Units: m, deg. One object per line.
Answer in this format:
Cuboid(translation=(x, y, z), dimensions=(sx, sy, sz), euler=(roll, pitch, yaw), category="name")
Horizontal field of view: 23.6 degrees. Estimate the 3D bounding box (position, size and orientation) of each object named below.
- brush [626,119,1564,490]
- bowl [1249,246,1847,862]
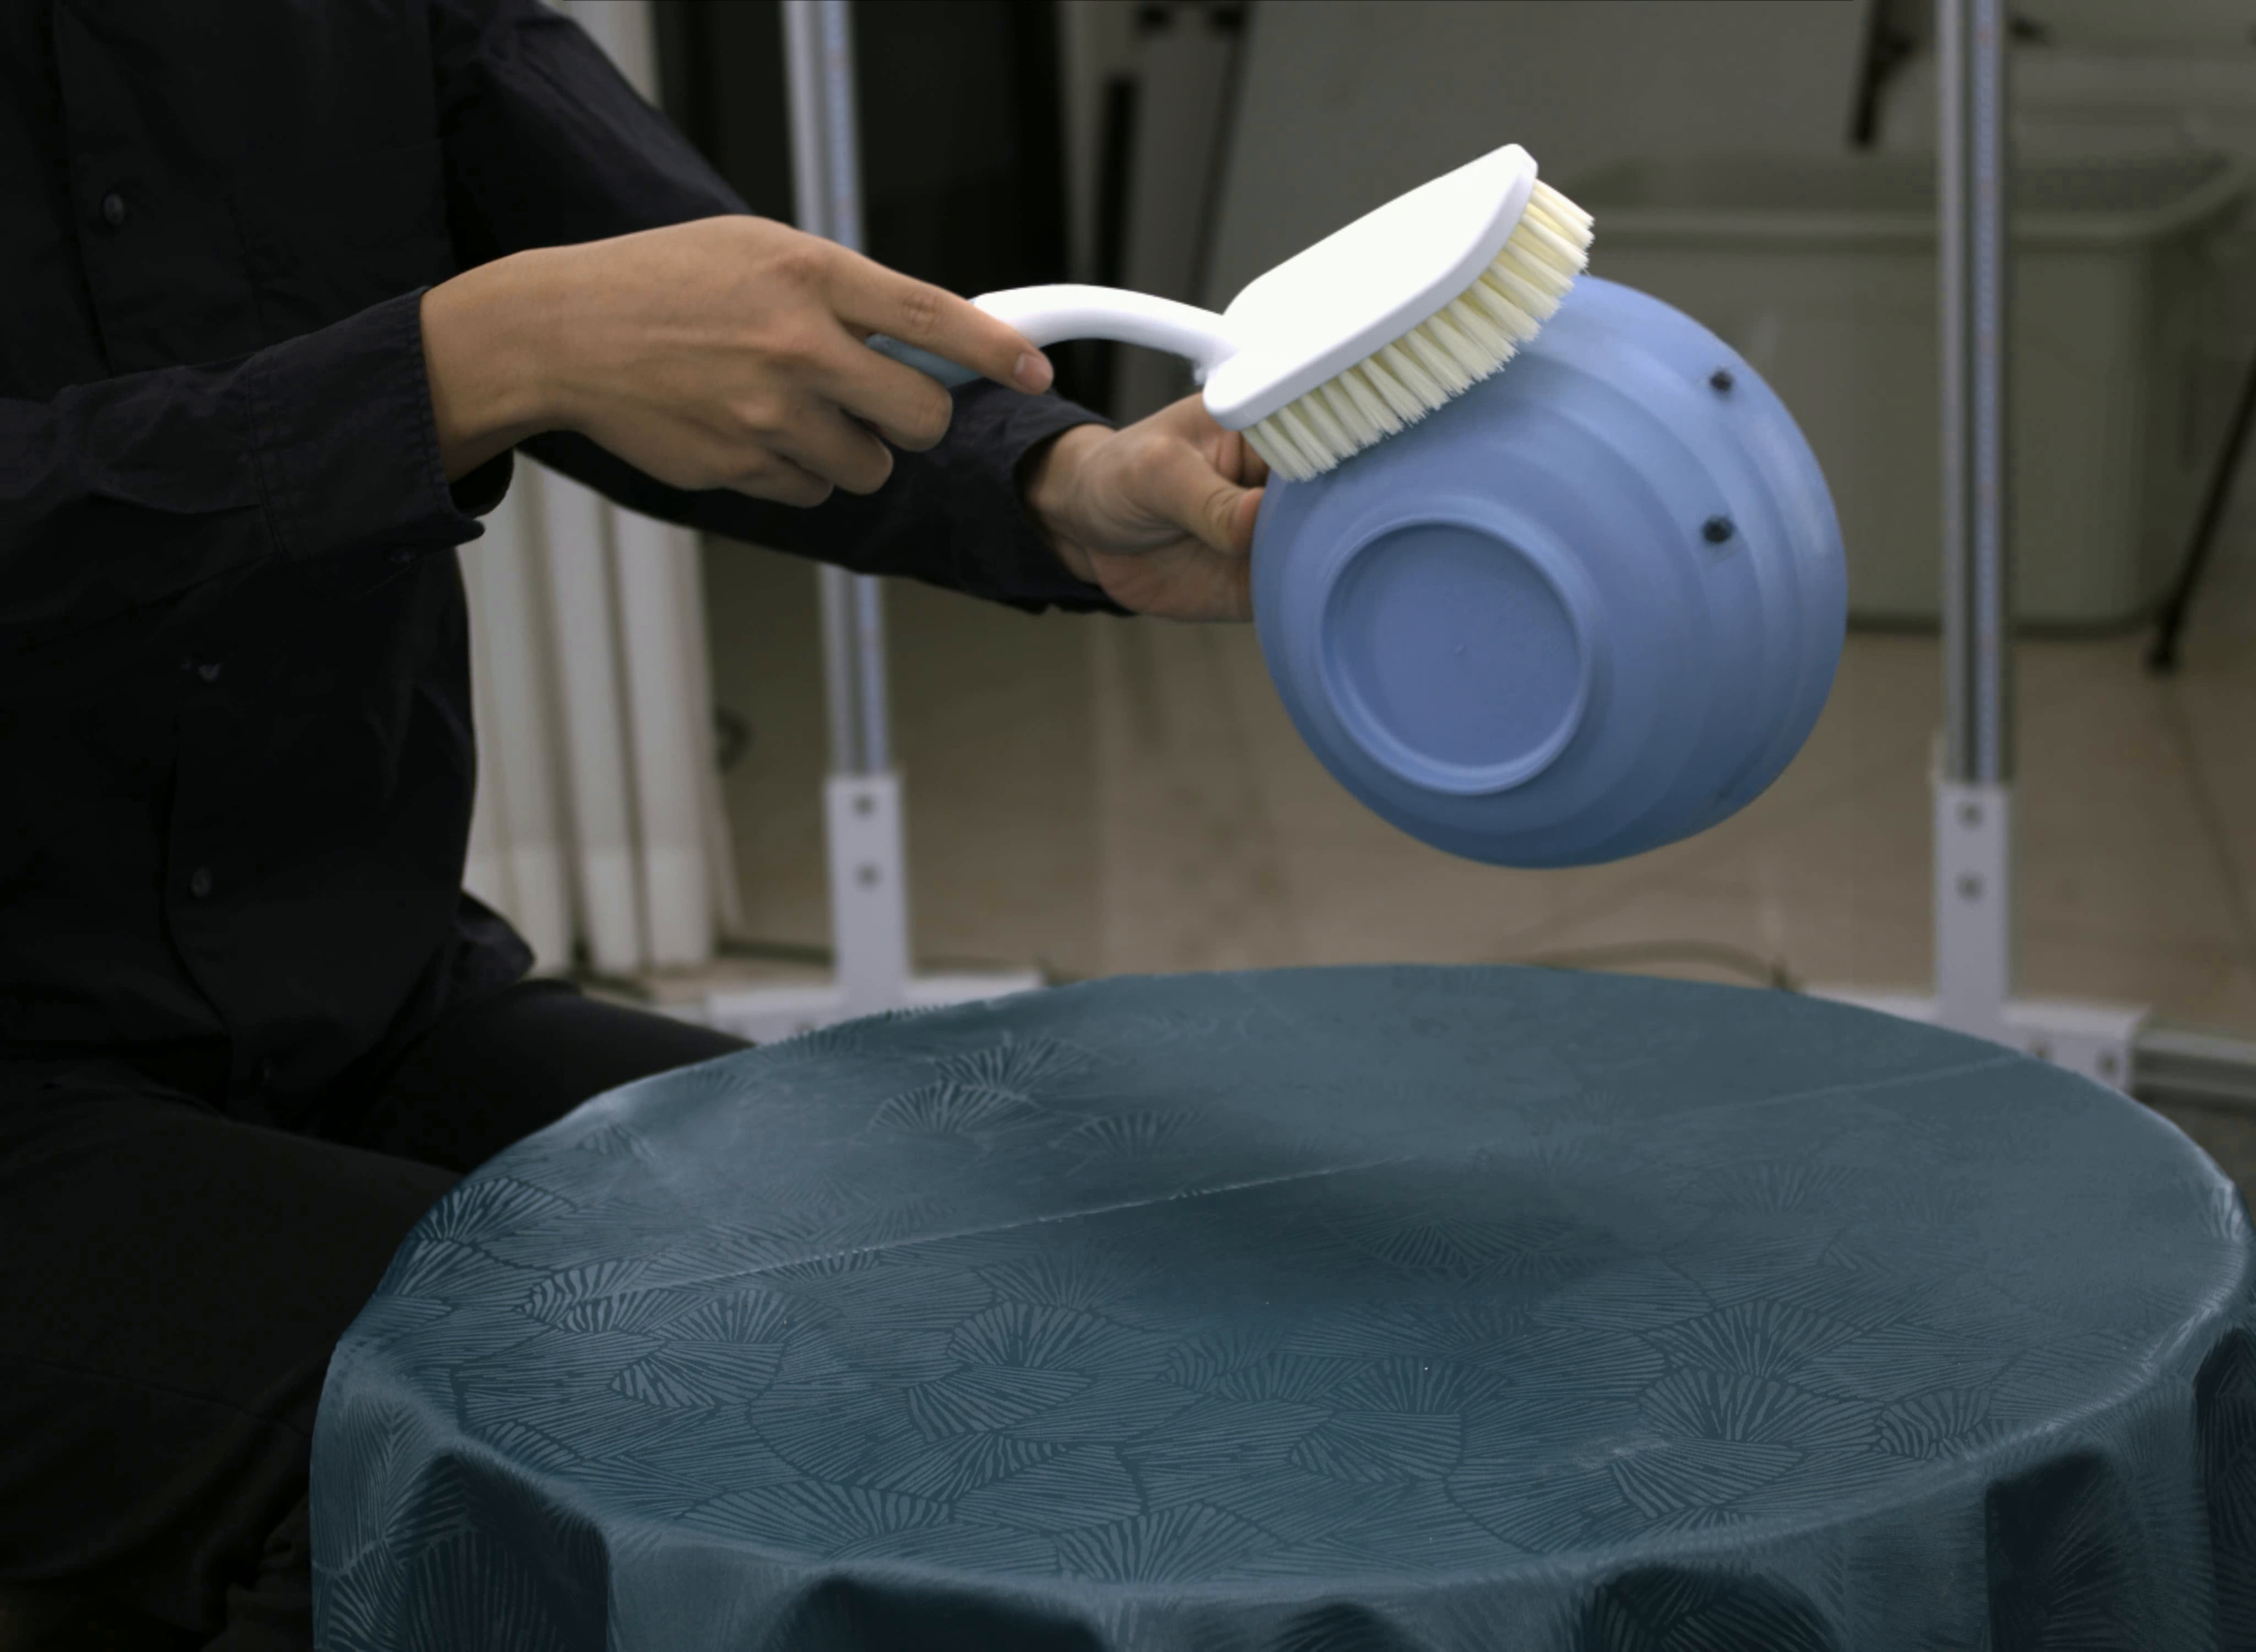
Cuboid(translation=(-0.007, -0.140, 1.689), dimensions=(0.326, 0.085, 0.082), euler=(-17, 1, 25), category="brush")
Cuboid(translation=(0.117, -0.072, 1.674), dimensions=(0.197, 0.198, 0.094), euler=(3, 20, 25), category="bowl")
